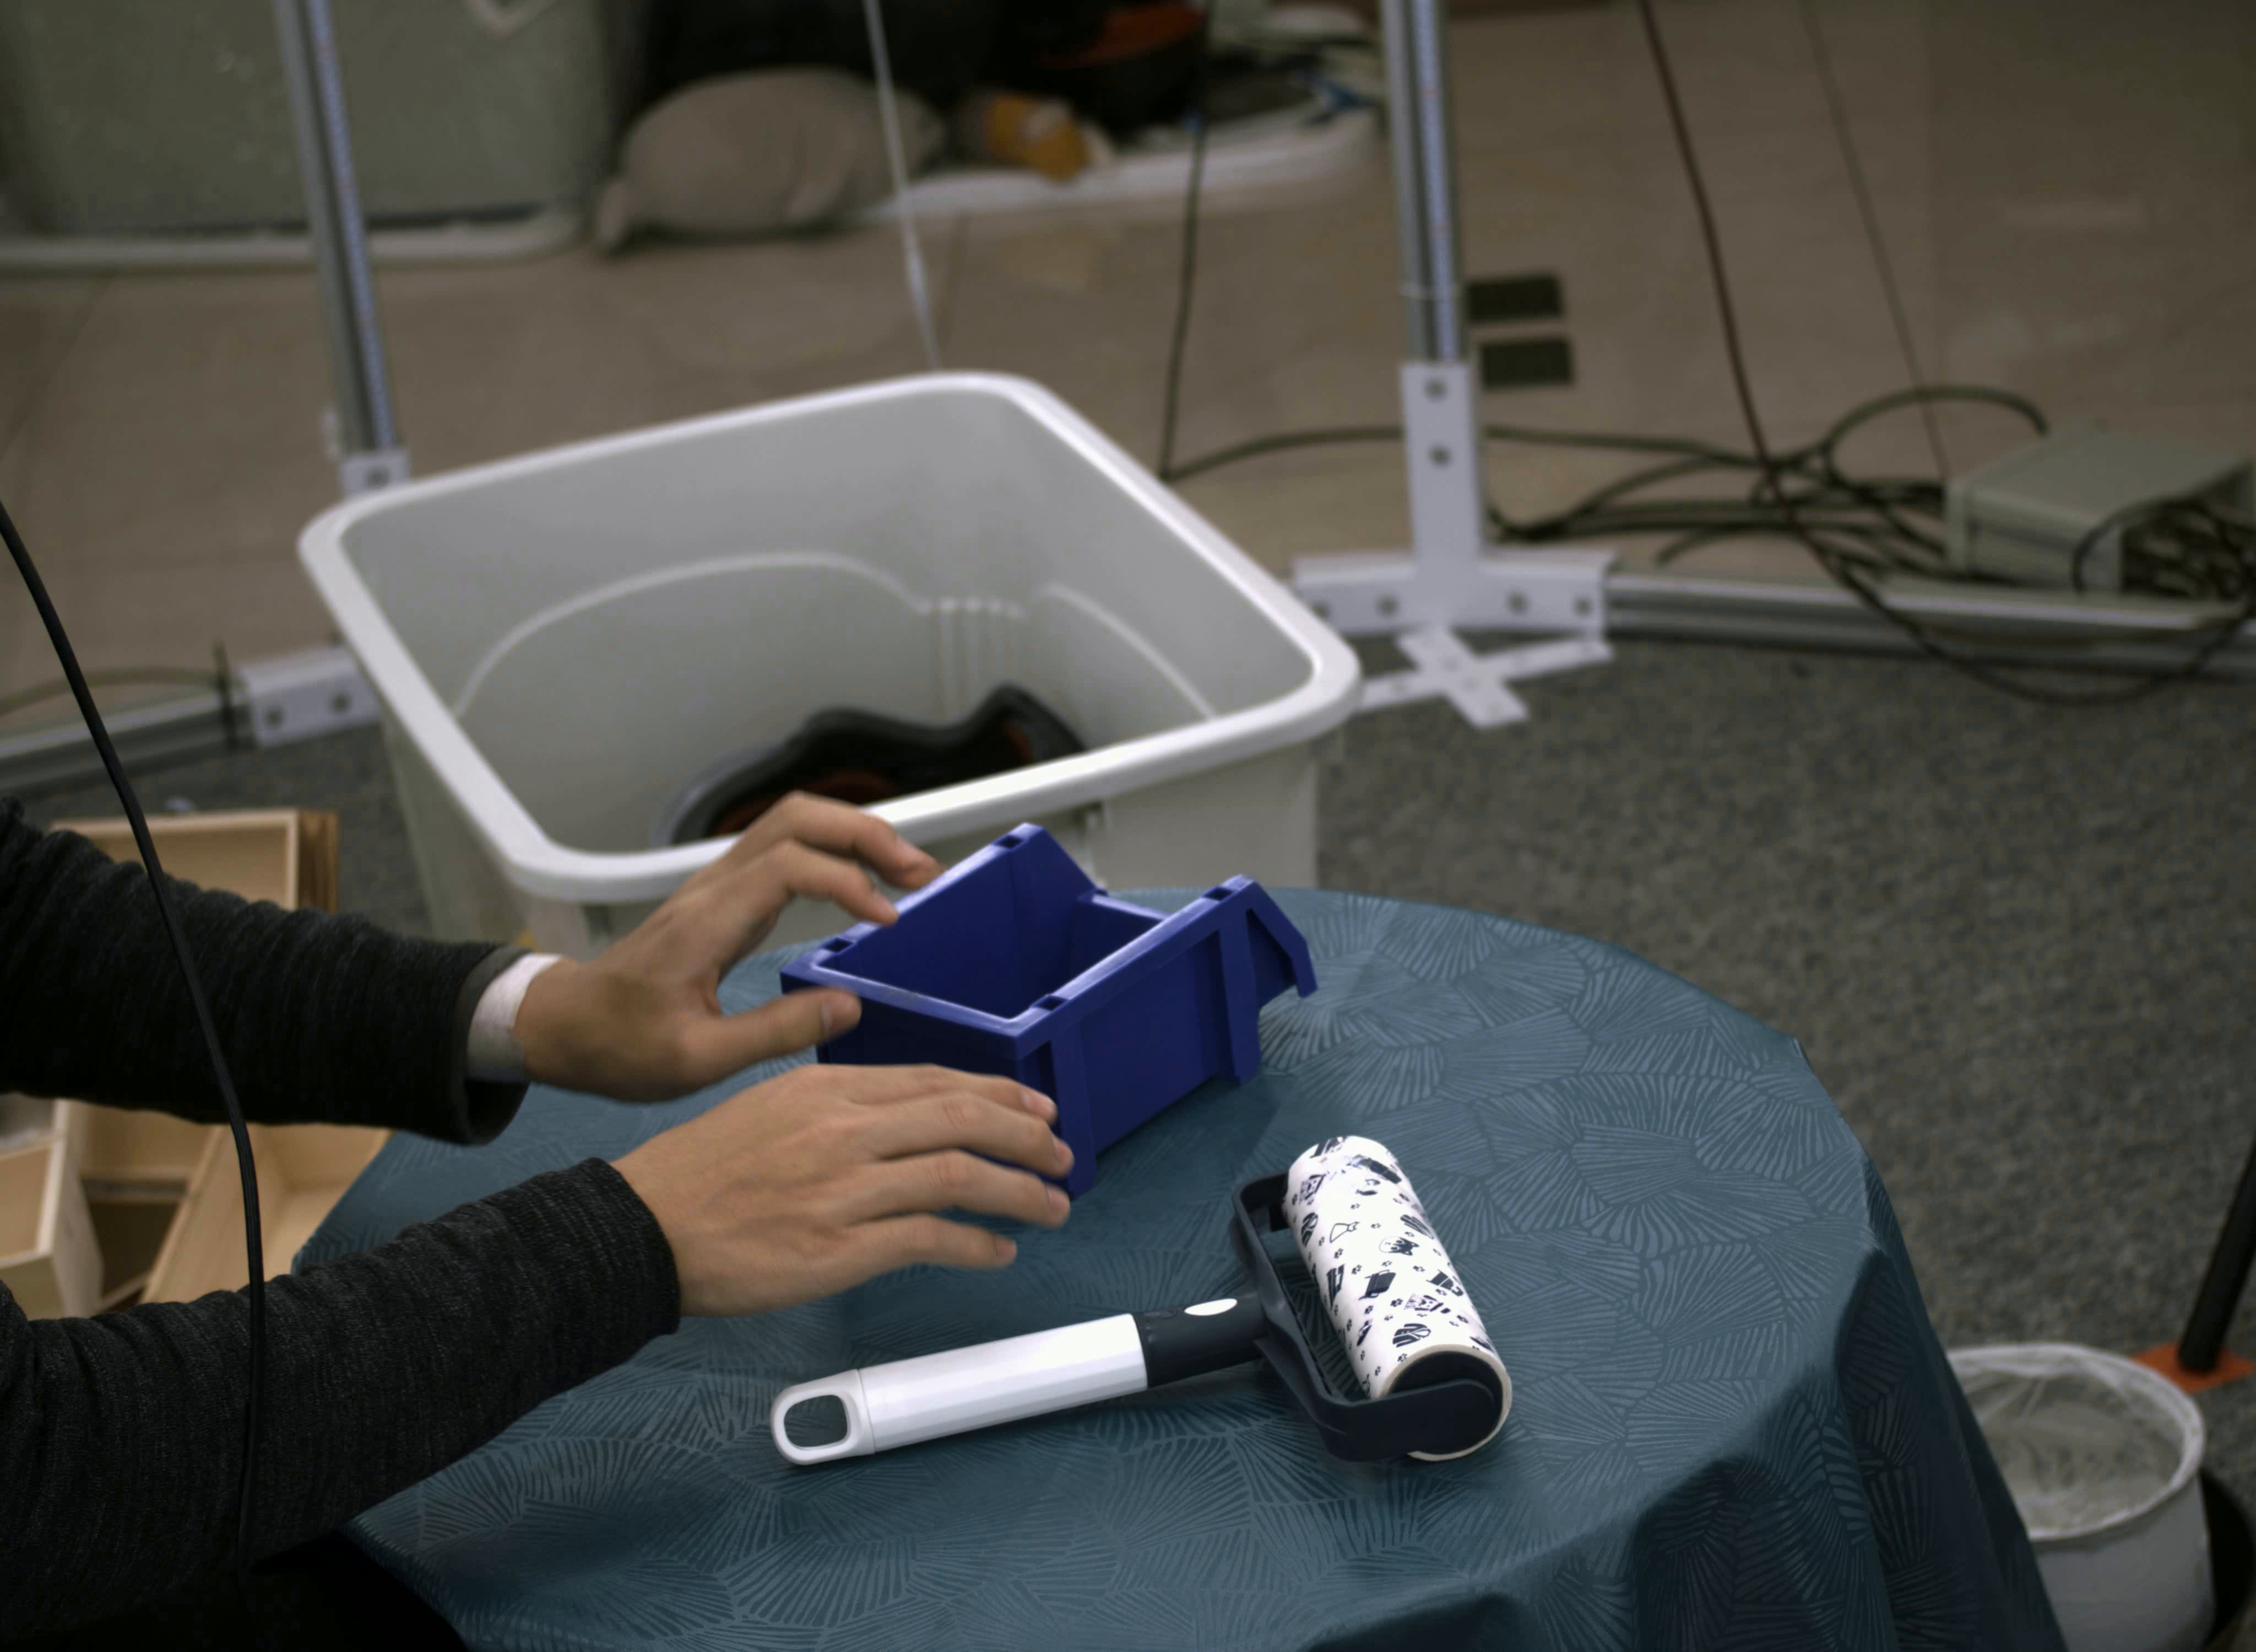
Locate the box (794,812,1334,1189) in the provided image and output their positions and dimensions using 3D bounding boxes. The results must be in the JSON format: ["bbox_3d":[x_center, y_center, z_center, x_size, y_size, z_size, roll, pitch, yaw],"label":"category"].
[{"bbox_3d":[-0.024,0.064,2.218,0.123,0.083,0.177,15,35,38],"label":"box"}]

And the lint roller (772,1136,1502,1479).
[{"bbox_3d":[-0.005,0.185,1.998,0.246,0.051,0.174,-11,26,-7],"label":"lint roller"}]
